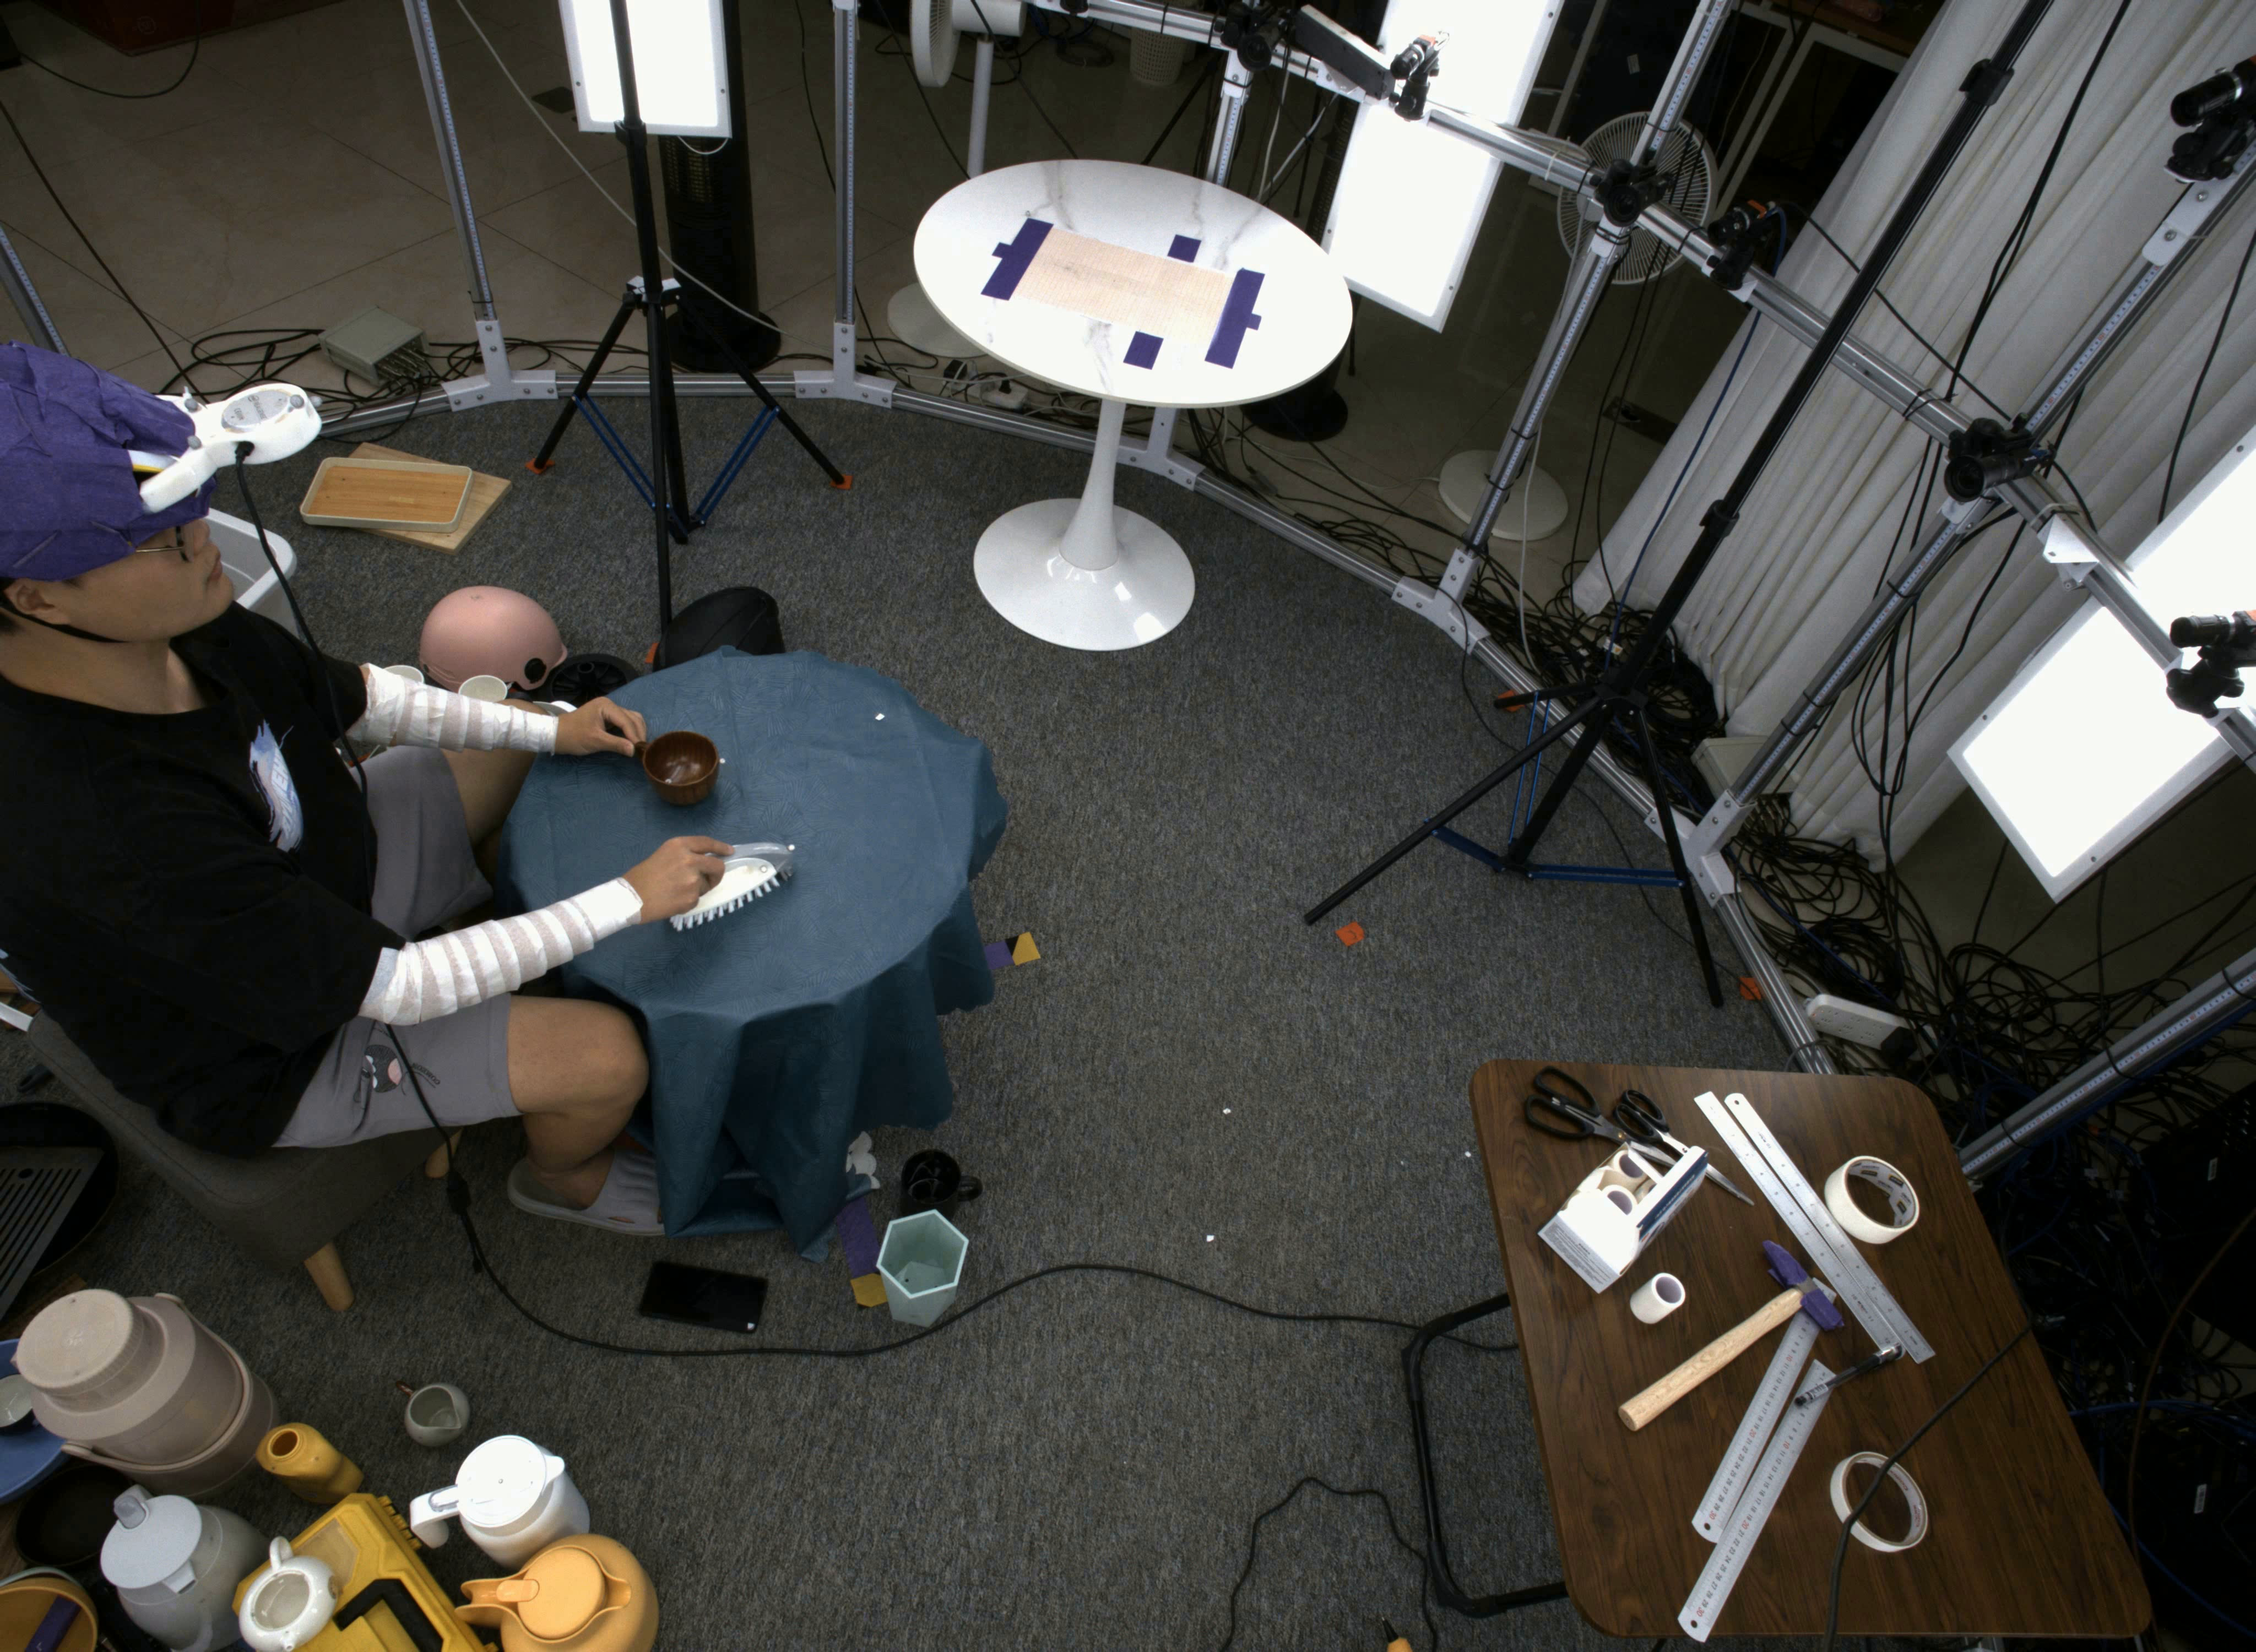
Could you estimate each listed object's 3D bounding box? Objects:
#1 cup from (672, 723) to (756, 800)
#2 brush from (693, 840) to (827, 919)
[{"bbox_3d":[-0.554,-0.085,1.722,0.118,0.069,0.095,21,54,5],"label":"cup"},{"bbox_3d":[-0.456,0.049,1.627,0.177,0.095,0.060,-19,65,-31],"label":"brush"}]
